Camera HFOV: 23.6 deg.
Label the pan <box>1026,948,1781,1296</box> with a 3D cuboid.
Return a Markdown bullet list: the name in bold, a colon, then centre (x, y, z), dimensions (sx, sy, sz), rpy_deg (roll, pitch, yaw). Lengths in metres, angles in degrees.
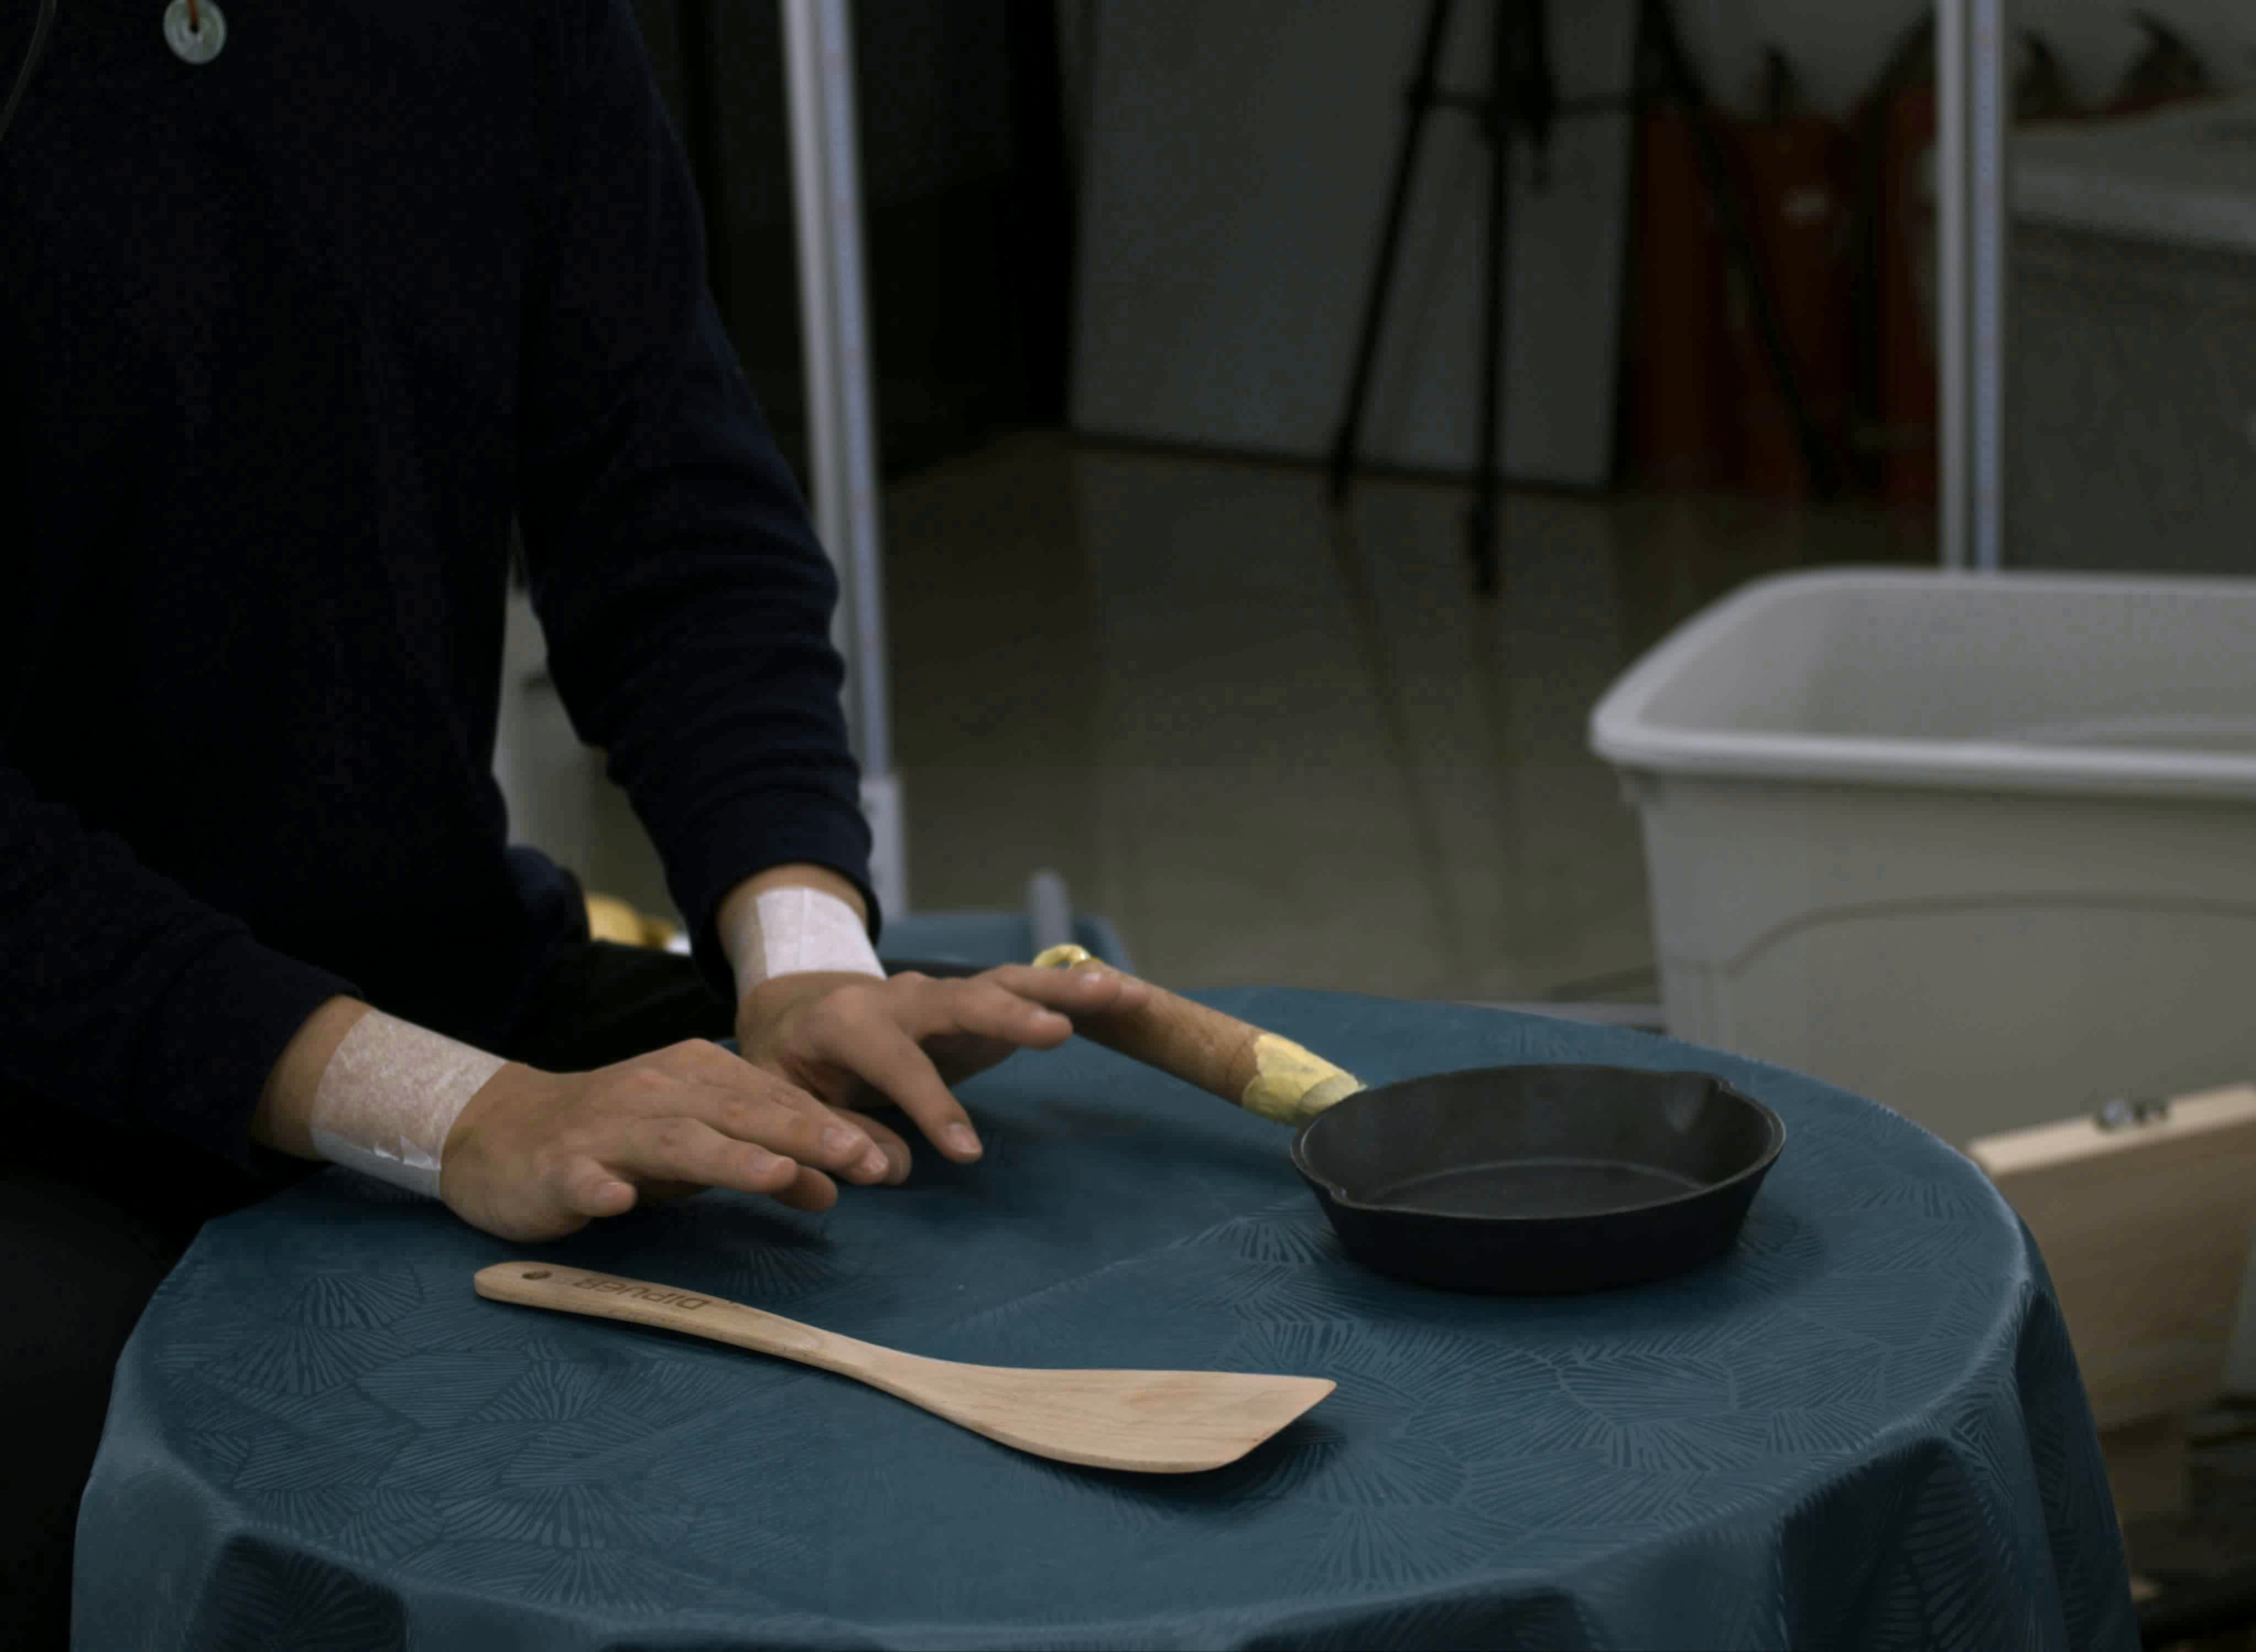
- **pan**: centre (0.075, 0.092, 1.761), dimensions (0.165, 0.050, 0.327), rpy_deg (-15, 19, -37)

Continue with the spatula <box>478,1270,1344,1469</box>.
- **spatula**: centre (-0.075, 0.157, 1.613), dimensions (0.330, 0.017, 0.078), rpy_deg (7, 17, 39)
